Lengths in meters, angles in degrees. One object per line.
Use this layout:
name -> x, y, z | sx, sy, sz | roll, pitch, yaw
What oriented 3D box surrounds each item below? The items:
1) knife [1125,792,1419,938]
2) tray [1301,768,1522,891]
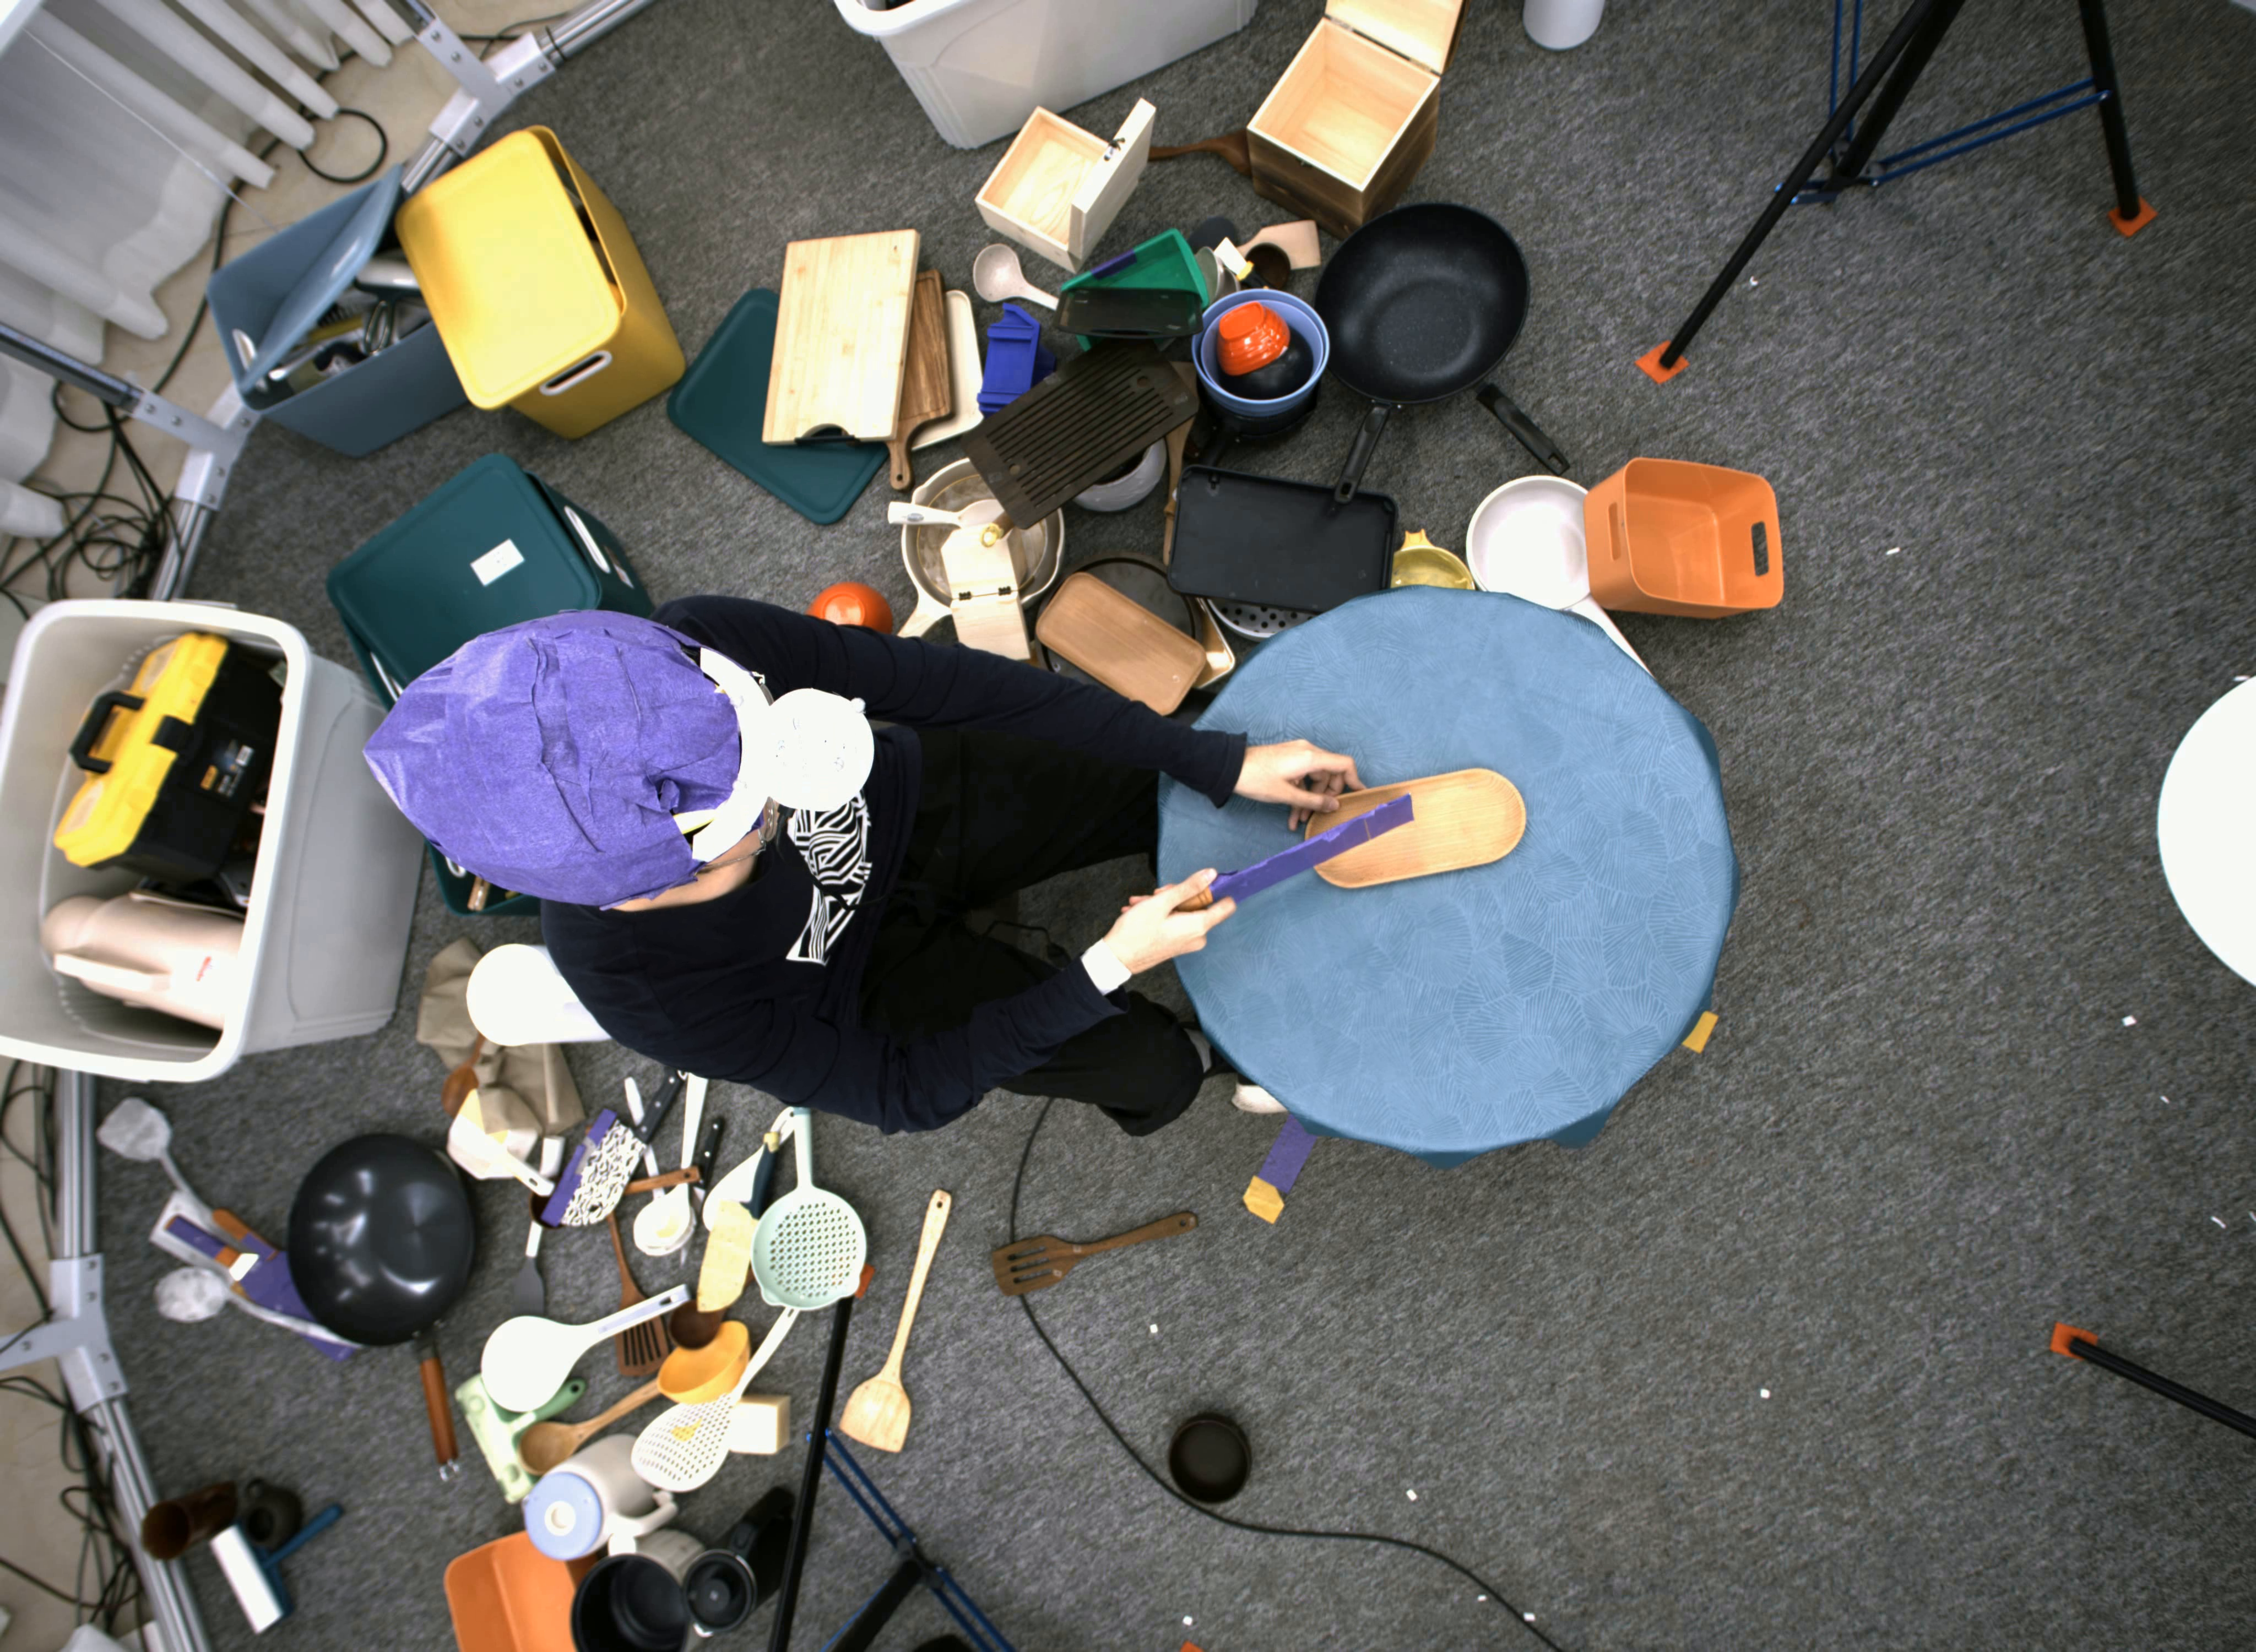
knife -> 0.152, 0.047, 1.412 | 0.317, 0.105, 0.032 | -24, 69, 8
tray -> 0.297, 0.002, 1.449 | 0.232, 0.020, 0.101 | -13, 85, 11
